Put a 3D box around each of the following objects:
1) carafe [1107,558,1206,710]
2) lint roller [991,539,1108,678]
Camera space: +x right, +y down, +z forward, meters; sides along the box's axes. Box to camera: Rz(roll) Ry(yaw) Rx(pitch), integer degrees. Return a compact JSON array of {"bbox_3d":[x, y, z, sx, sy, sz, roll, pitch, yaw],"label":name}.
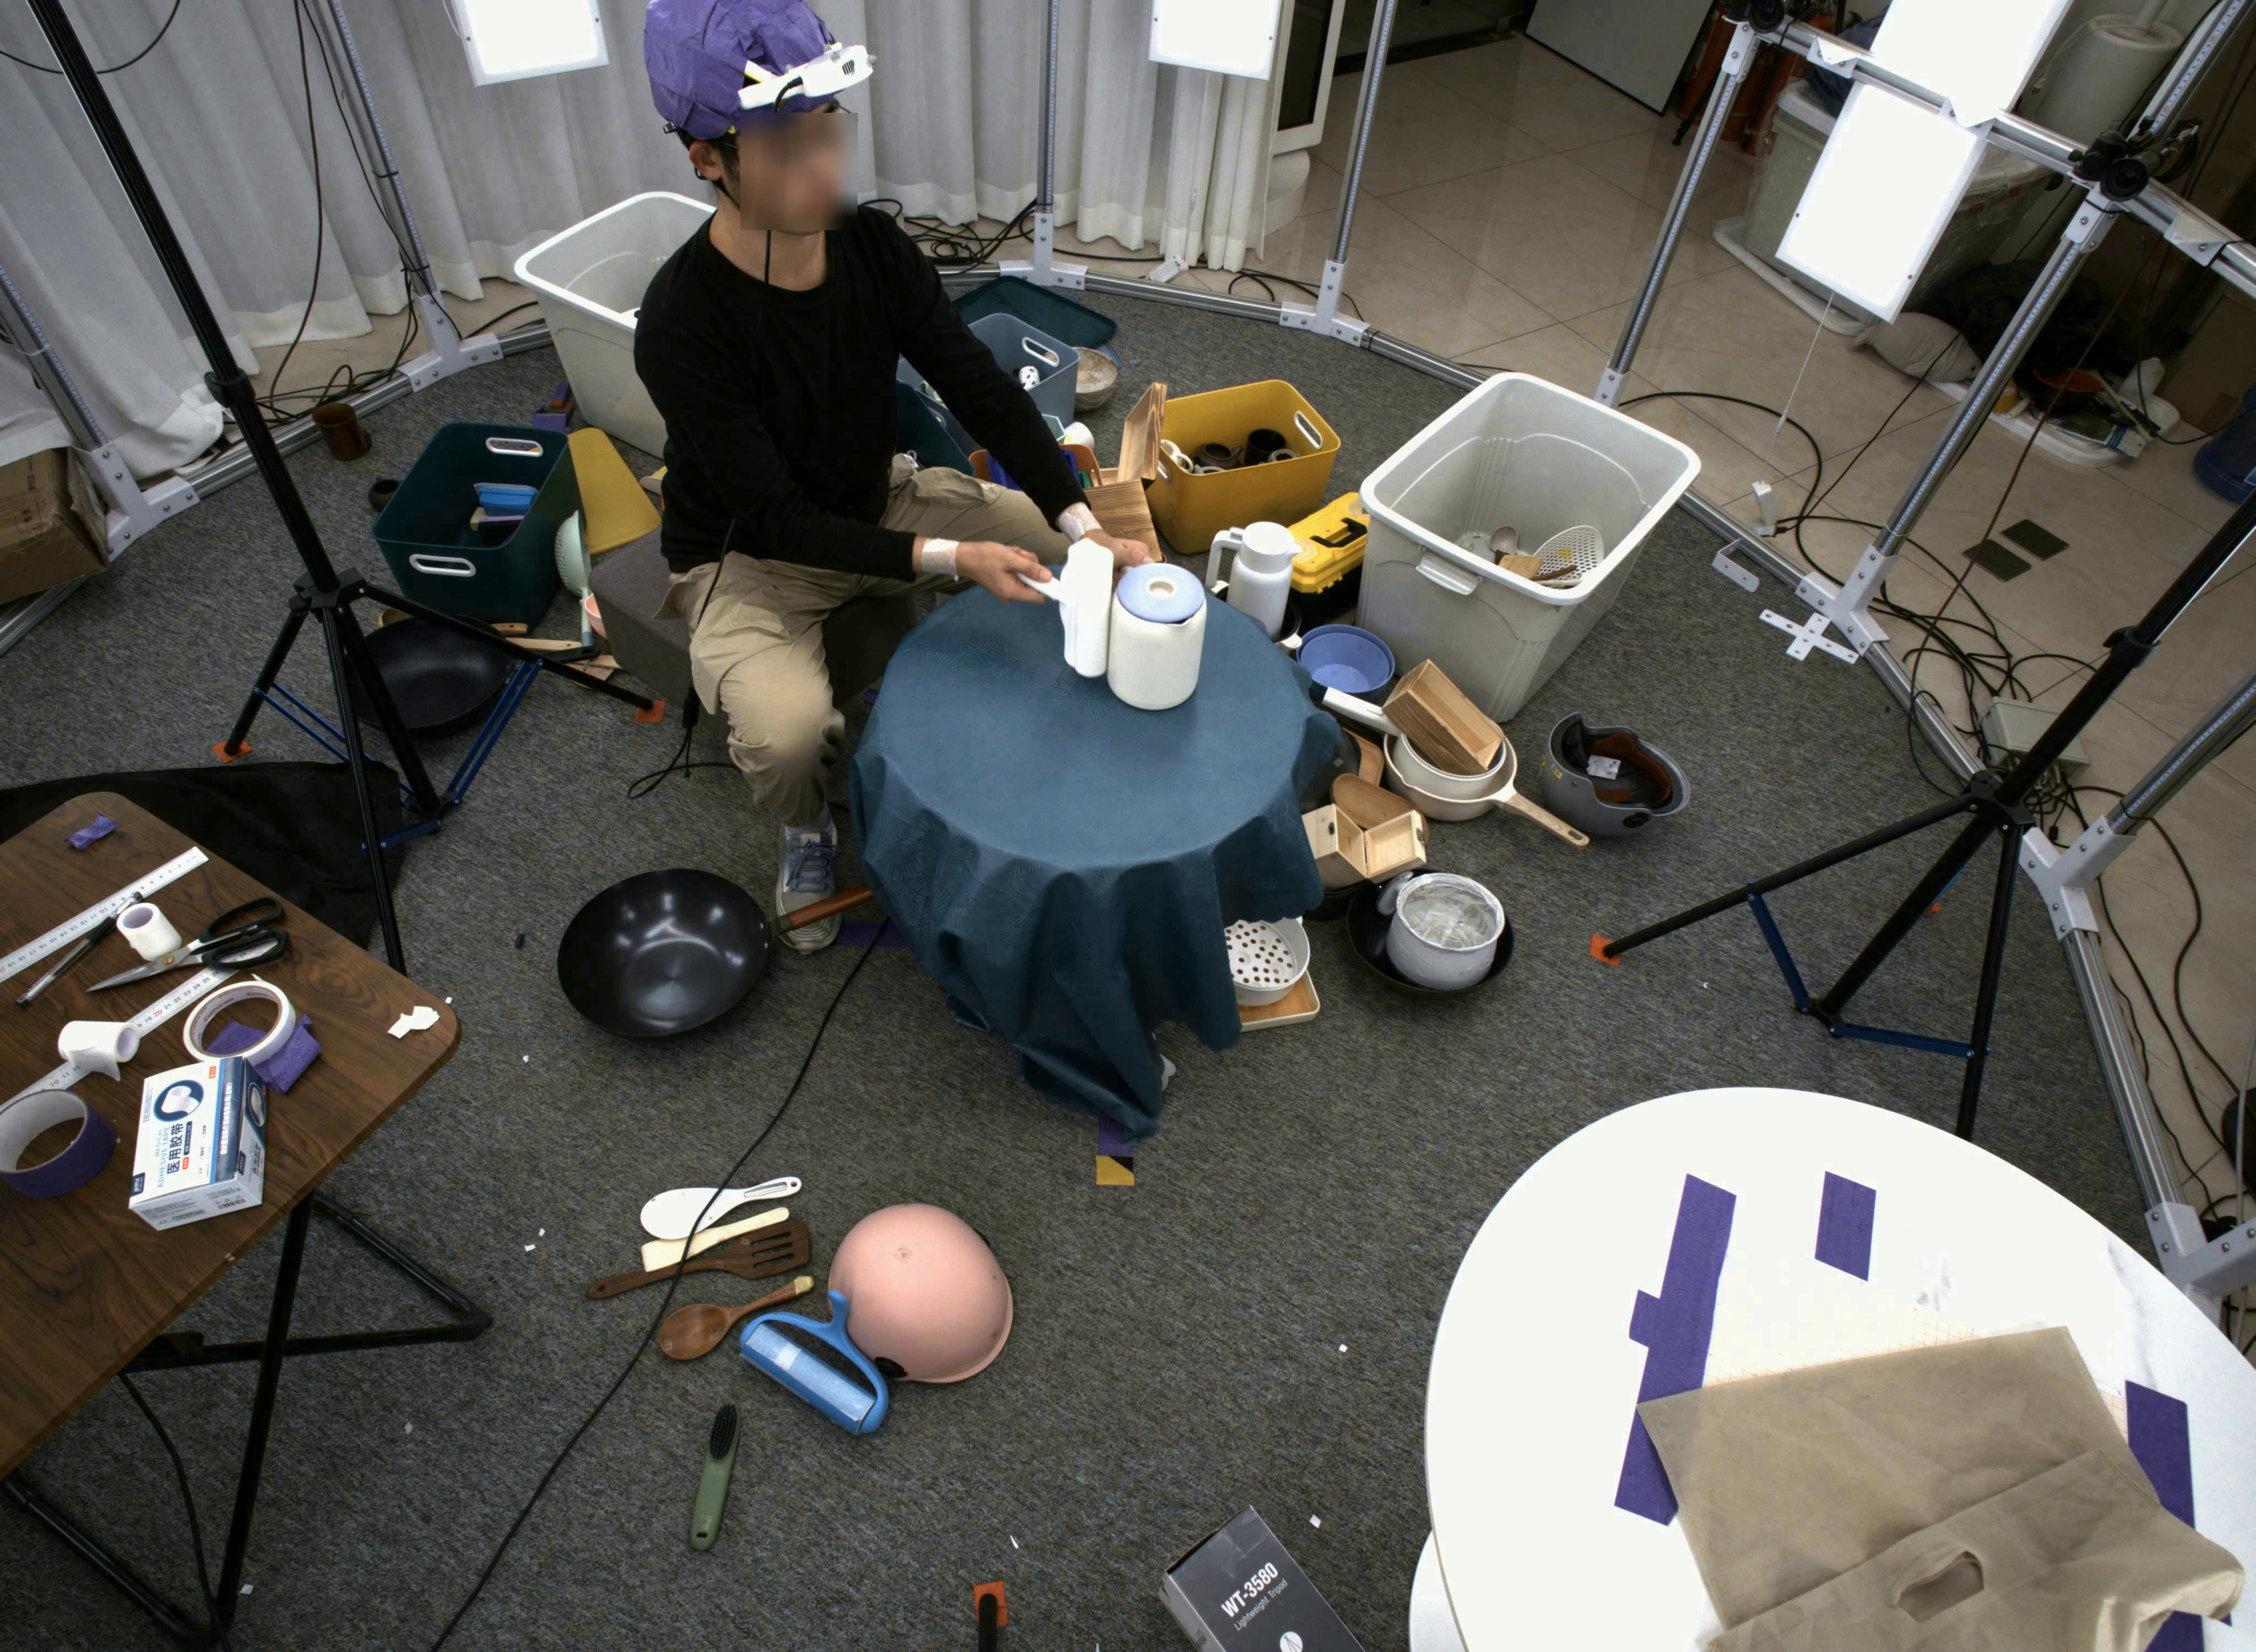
[{"bbox_3d":[0.028,-0.282,1.805,0.132,0.178,0.195,-18,51,-19],"label":"carafe"},{"bbox_3d":[-0.115,-0.333,1.798,0.229,0.198,0.049,34,54,27],"label":"lint roller"}]
